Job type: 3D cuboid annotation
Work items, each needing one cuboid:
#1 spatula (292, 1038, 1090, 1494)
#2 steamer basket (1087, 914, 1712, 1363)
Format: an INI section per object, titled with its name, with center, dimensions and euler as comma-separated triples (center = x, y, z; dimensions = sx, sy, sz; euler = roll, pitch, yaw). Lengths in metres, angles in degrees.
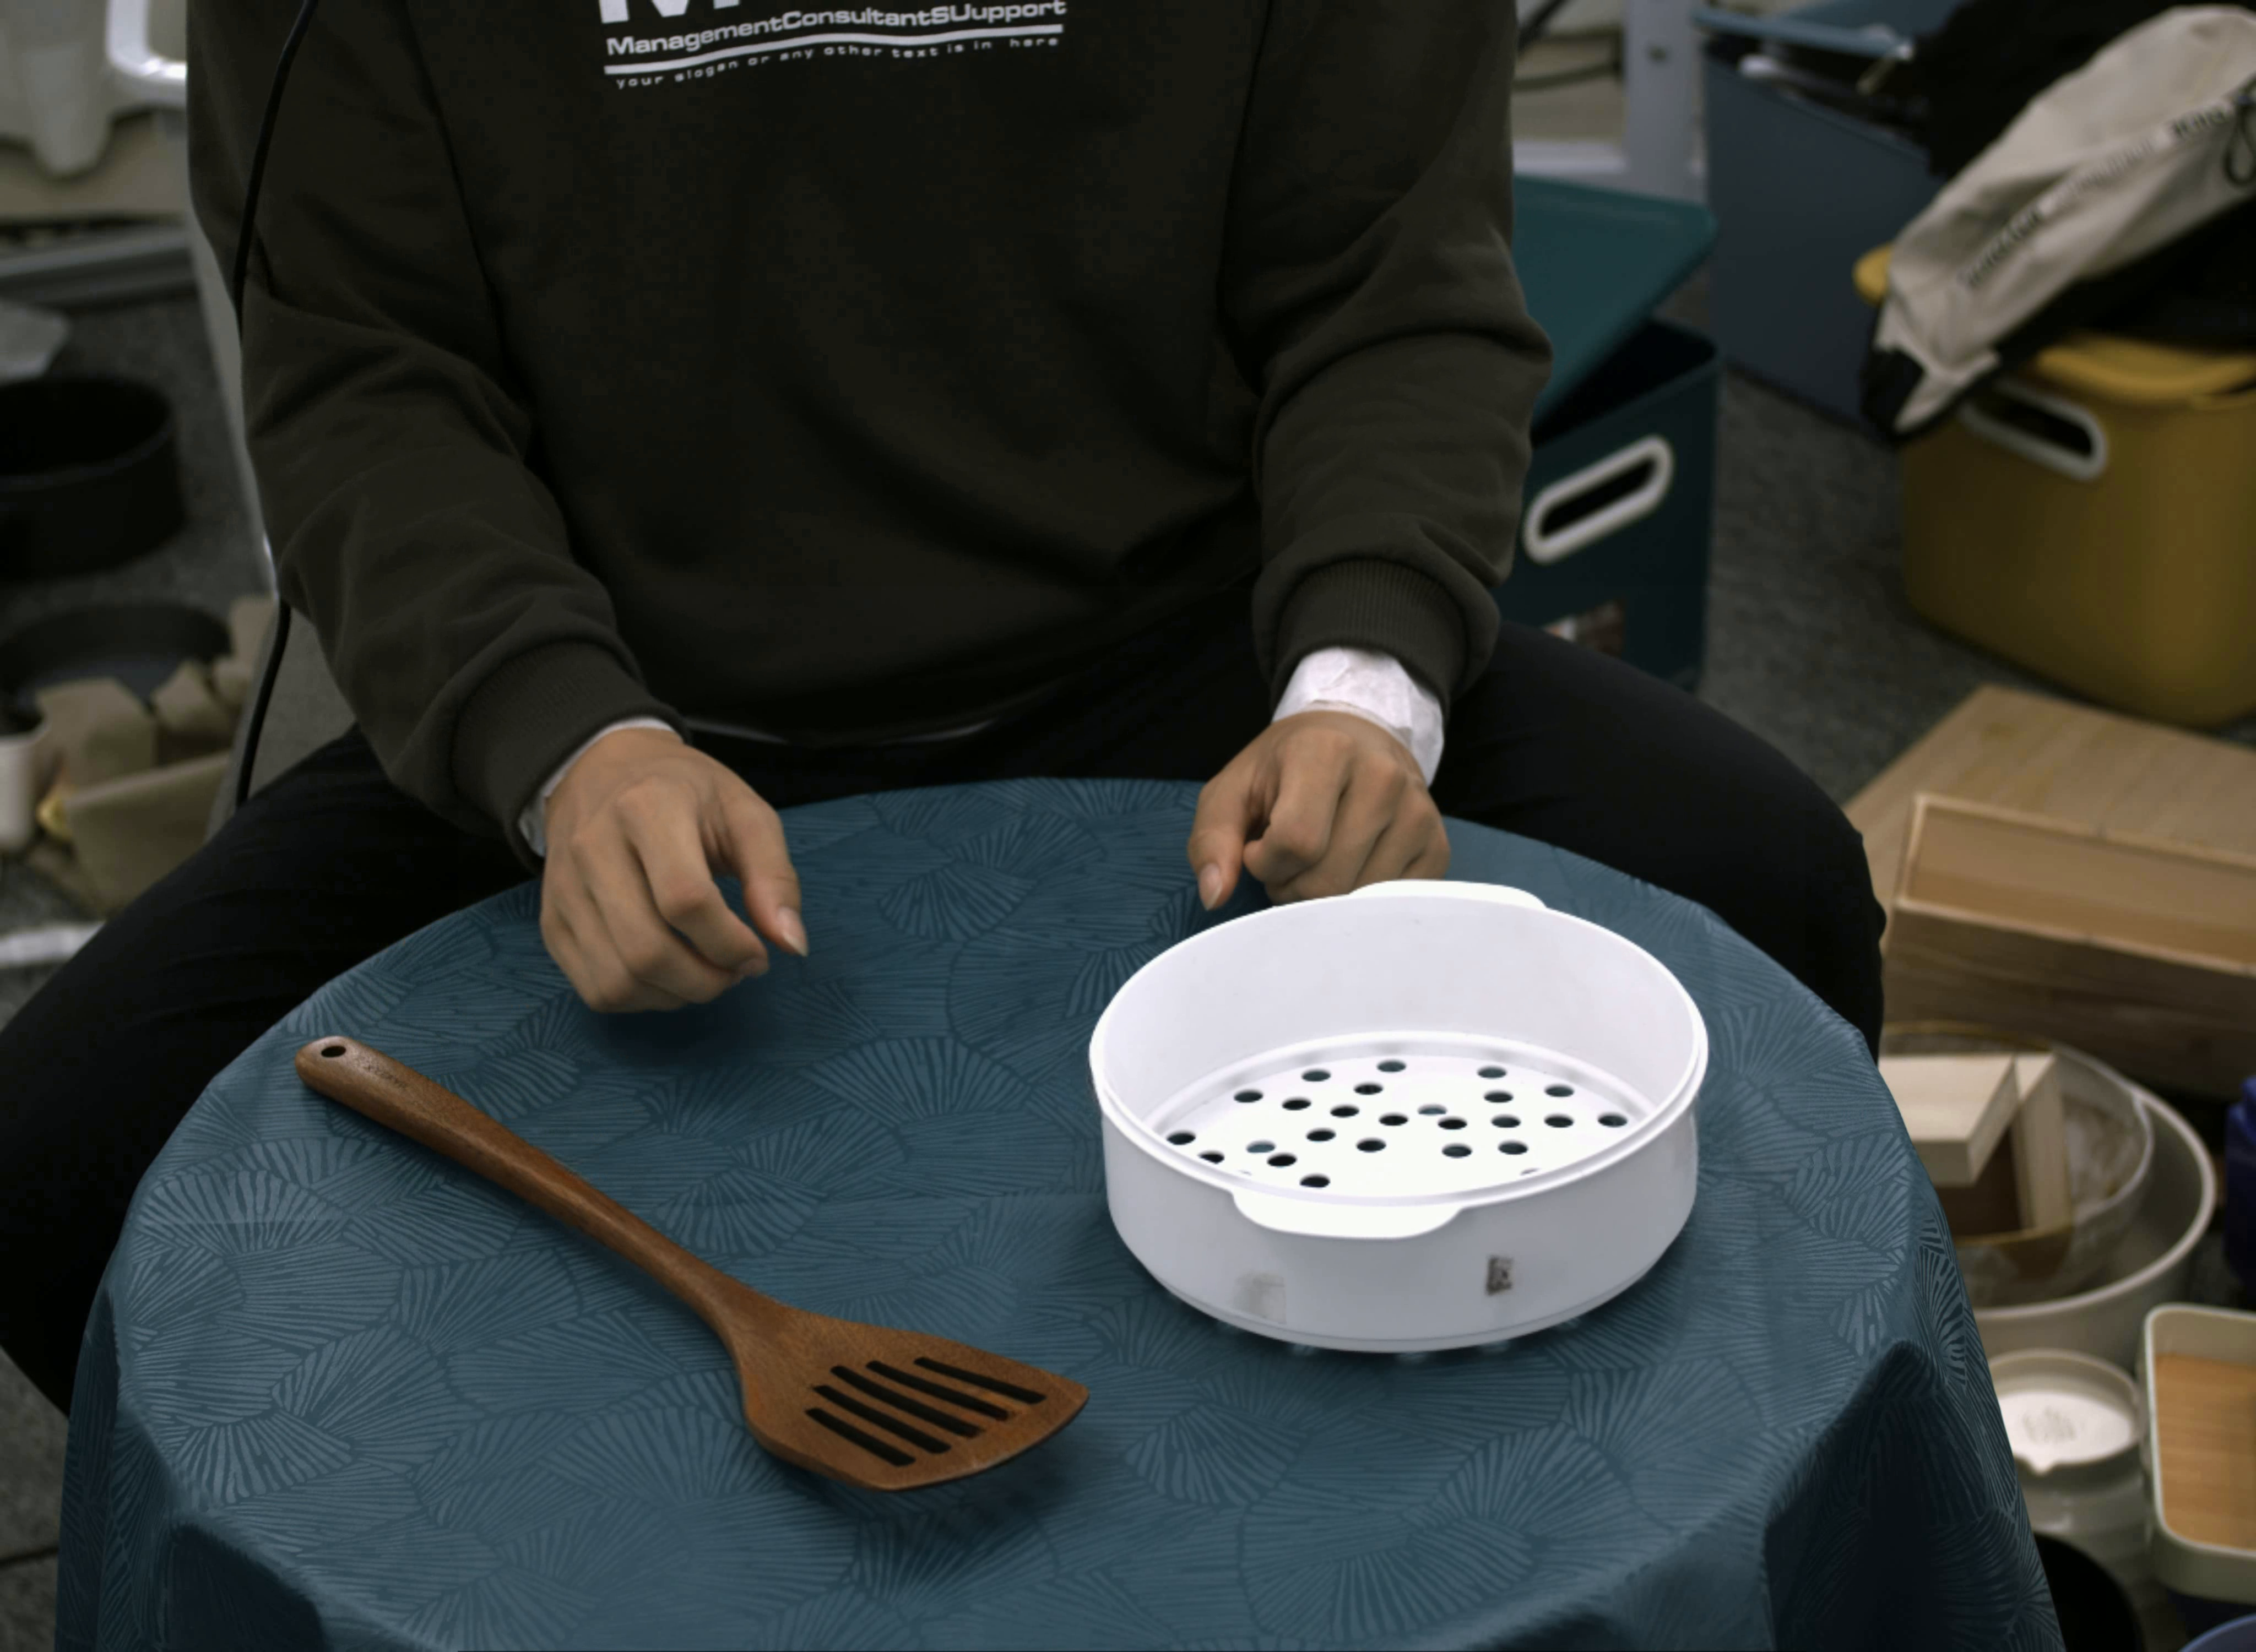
[spatula]
center = -0.161, 0.139, 1.821
dimensions = 0.087, 0.023, 0.385
euler = -21, 31, -36
[steamer basket]
center = 0.087, 0.102, 1.825
dimensions = 0.200, 0.068, 0.234
euler = 5, 24, 11
